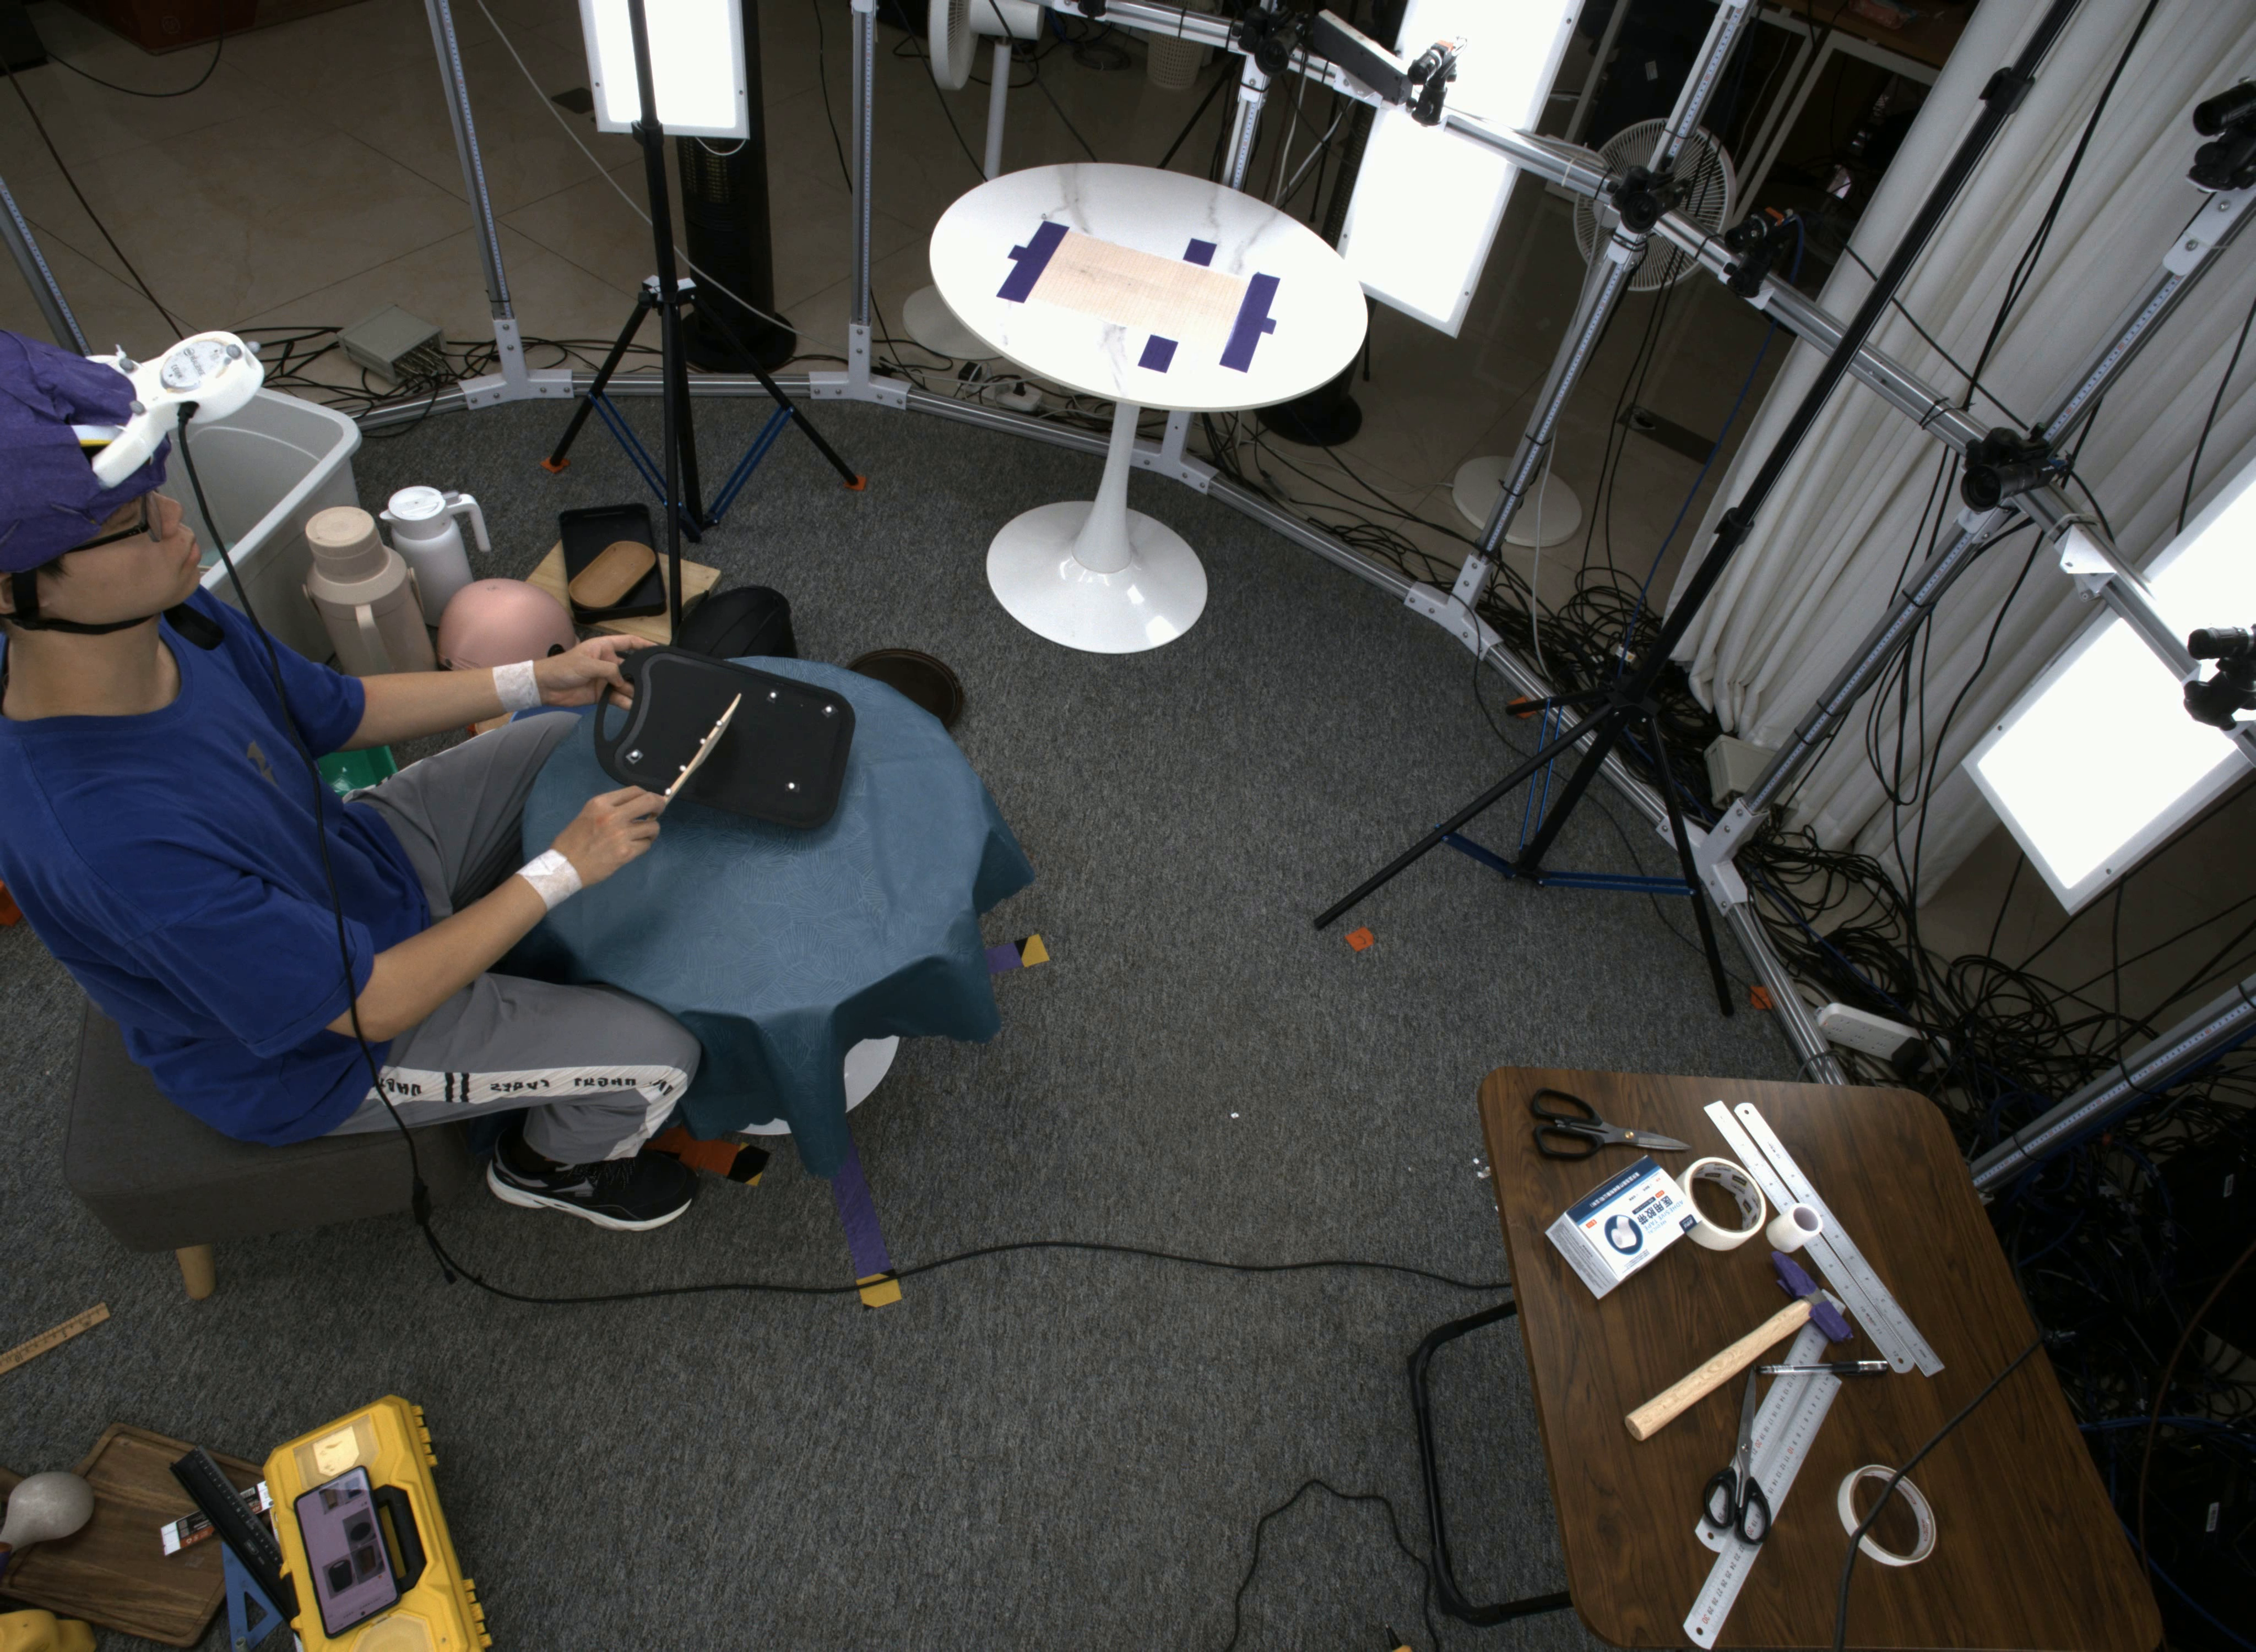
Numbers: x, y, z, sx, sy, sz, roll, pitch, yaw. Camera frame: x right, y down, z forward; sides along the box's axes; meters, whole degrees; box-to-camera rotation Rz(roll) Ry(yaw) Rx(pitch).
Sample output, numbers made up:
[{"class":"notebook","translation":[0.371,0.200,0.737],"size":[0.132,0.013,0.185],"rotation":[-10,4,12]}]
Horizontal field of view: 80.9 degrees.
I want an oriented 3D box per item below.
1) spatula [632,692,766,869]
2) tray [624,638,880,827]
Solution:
[{"class":"spatula","translation":[-0.531,-0.057,1.599],"size":[0.011,0.072,0.291],"rotation":[35,51,-10]},{"class":"tray","translation":[-0.500,-0.127,1.706],"size":[0.328,0.010,0.209],"rotation":[17,66,-17]}]
